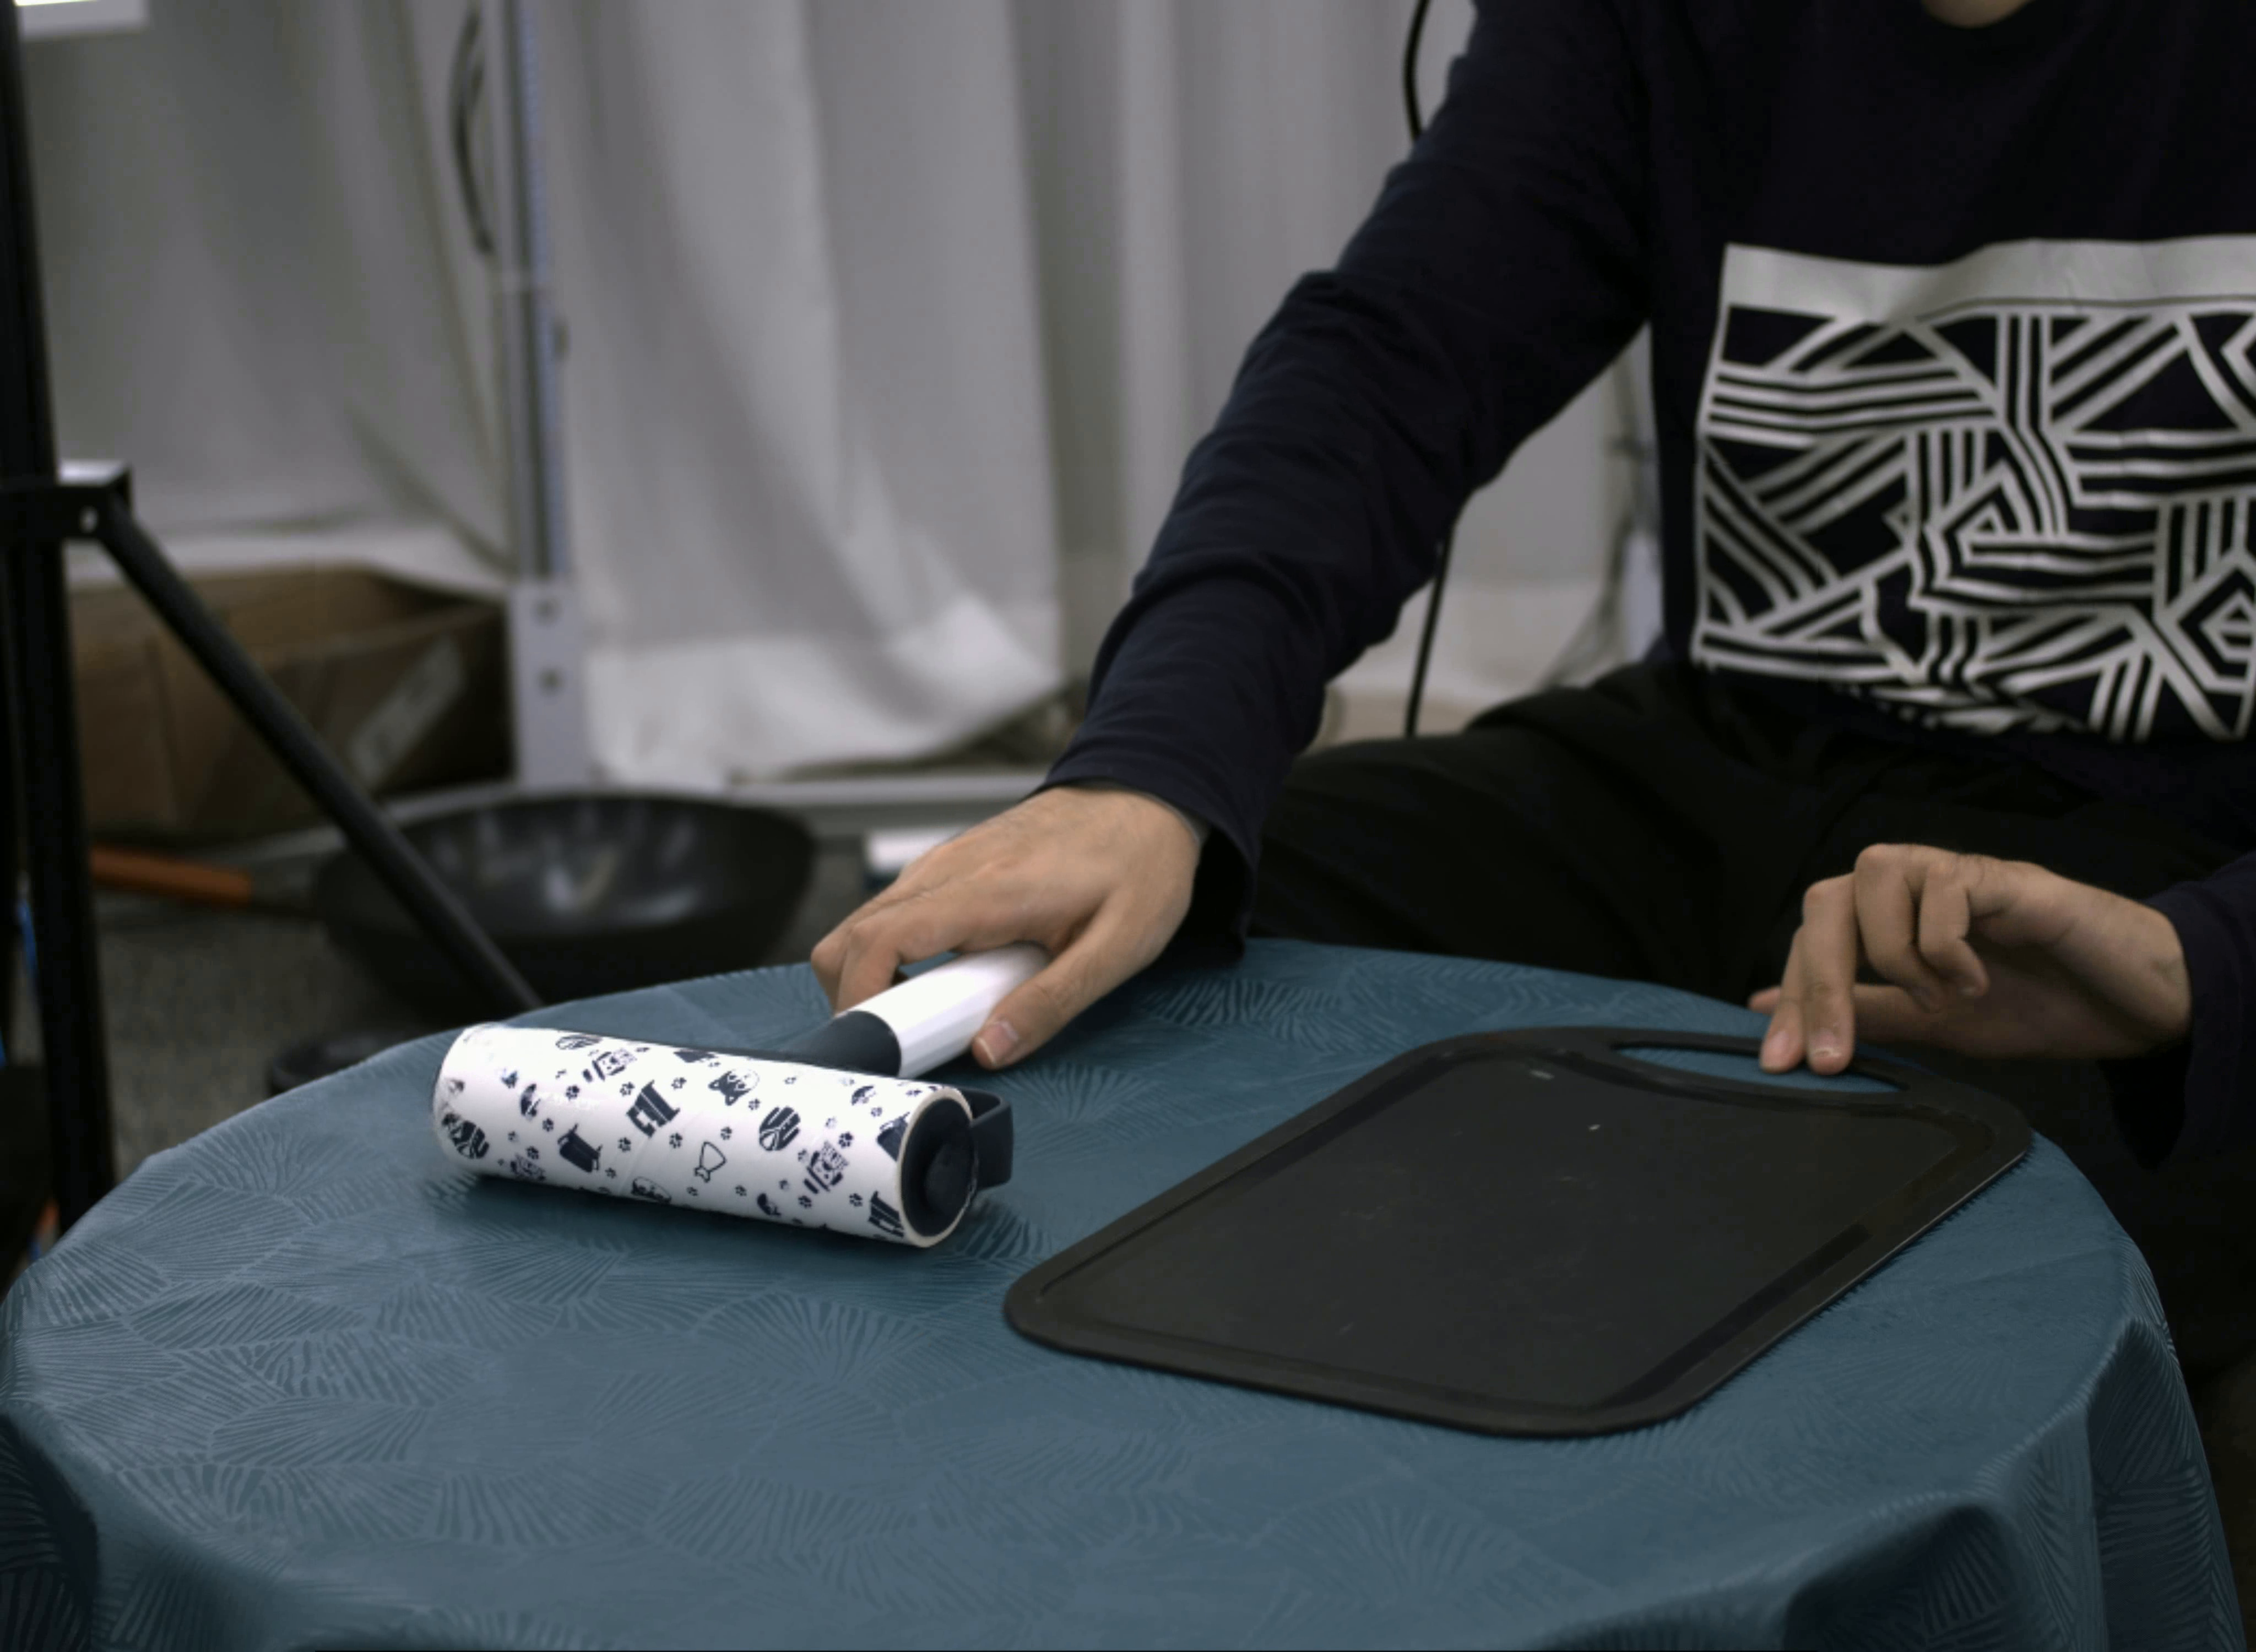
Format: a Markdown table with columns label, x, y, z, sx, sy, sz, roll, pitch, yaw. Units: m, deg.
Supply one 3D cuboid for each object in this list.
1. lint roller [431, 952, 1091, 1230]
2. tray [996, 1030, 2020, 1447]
| label | x | y | z | sx | sy | sz | roll | pitch | yaw |
| --- | --- | --- | --- | --- | --- | --- | --- | --- | --- |
| lint roller | -0.078 | 0.067 | 1.647 | 0.179 | 0.050 | 0.242 | 5 | 14 | 28 |
| tray | 0.119 | 0.109 | 1.528 | 0.215 | 0.010 | 0.319 | 8 | 19 | 32 |
